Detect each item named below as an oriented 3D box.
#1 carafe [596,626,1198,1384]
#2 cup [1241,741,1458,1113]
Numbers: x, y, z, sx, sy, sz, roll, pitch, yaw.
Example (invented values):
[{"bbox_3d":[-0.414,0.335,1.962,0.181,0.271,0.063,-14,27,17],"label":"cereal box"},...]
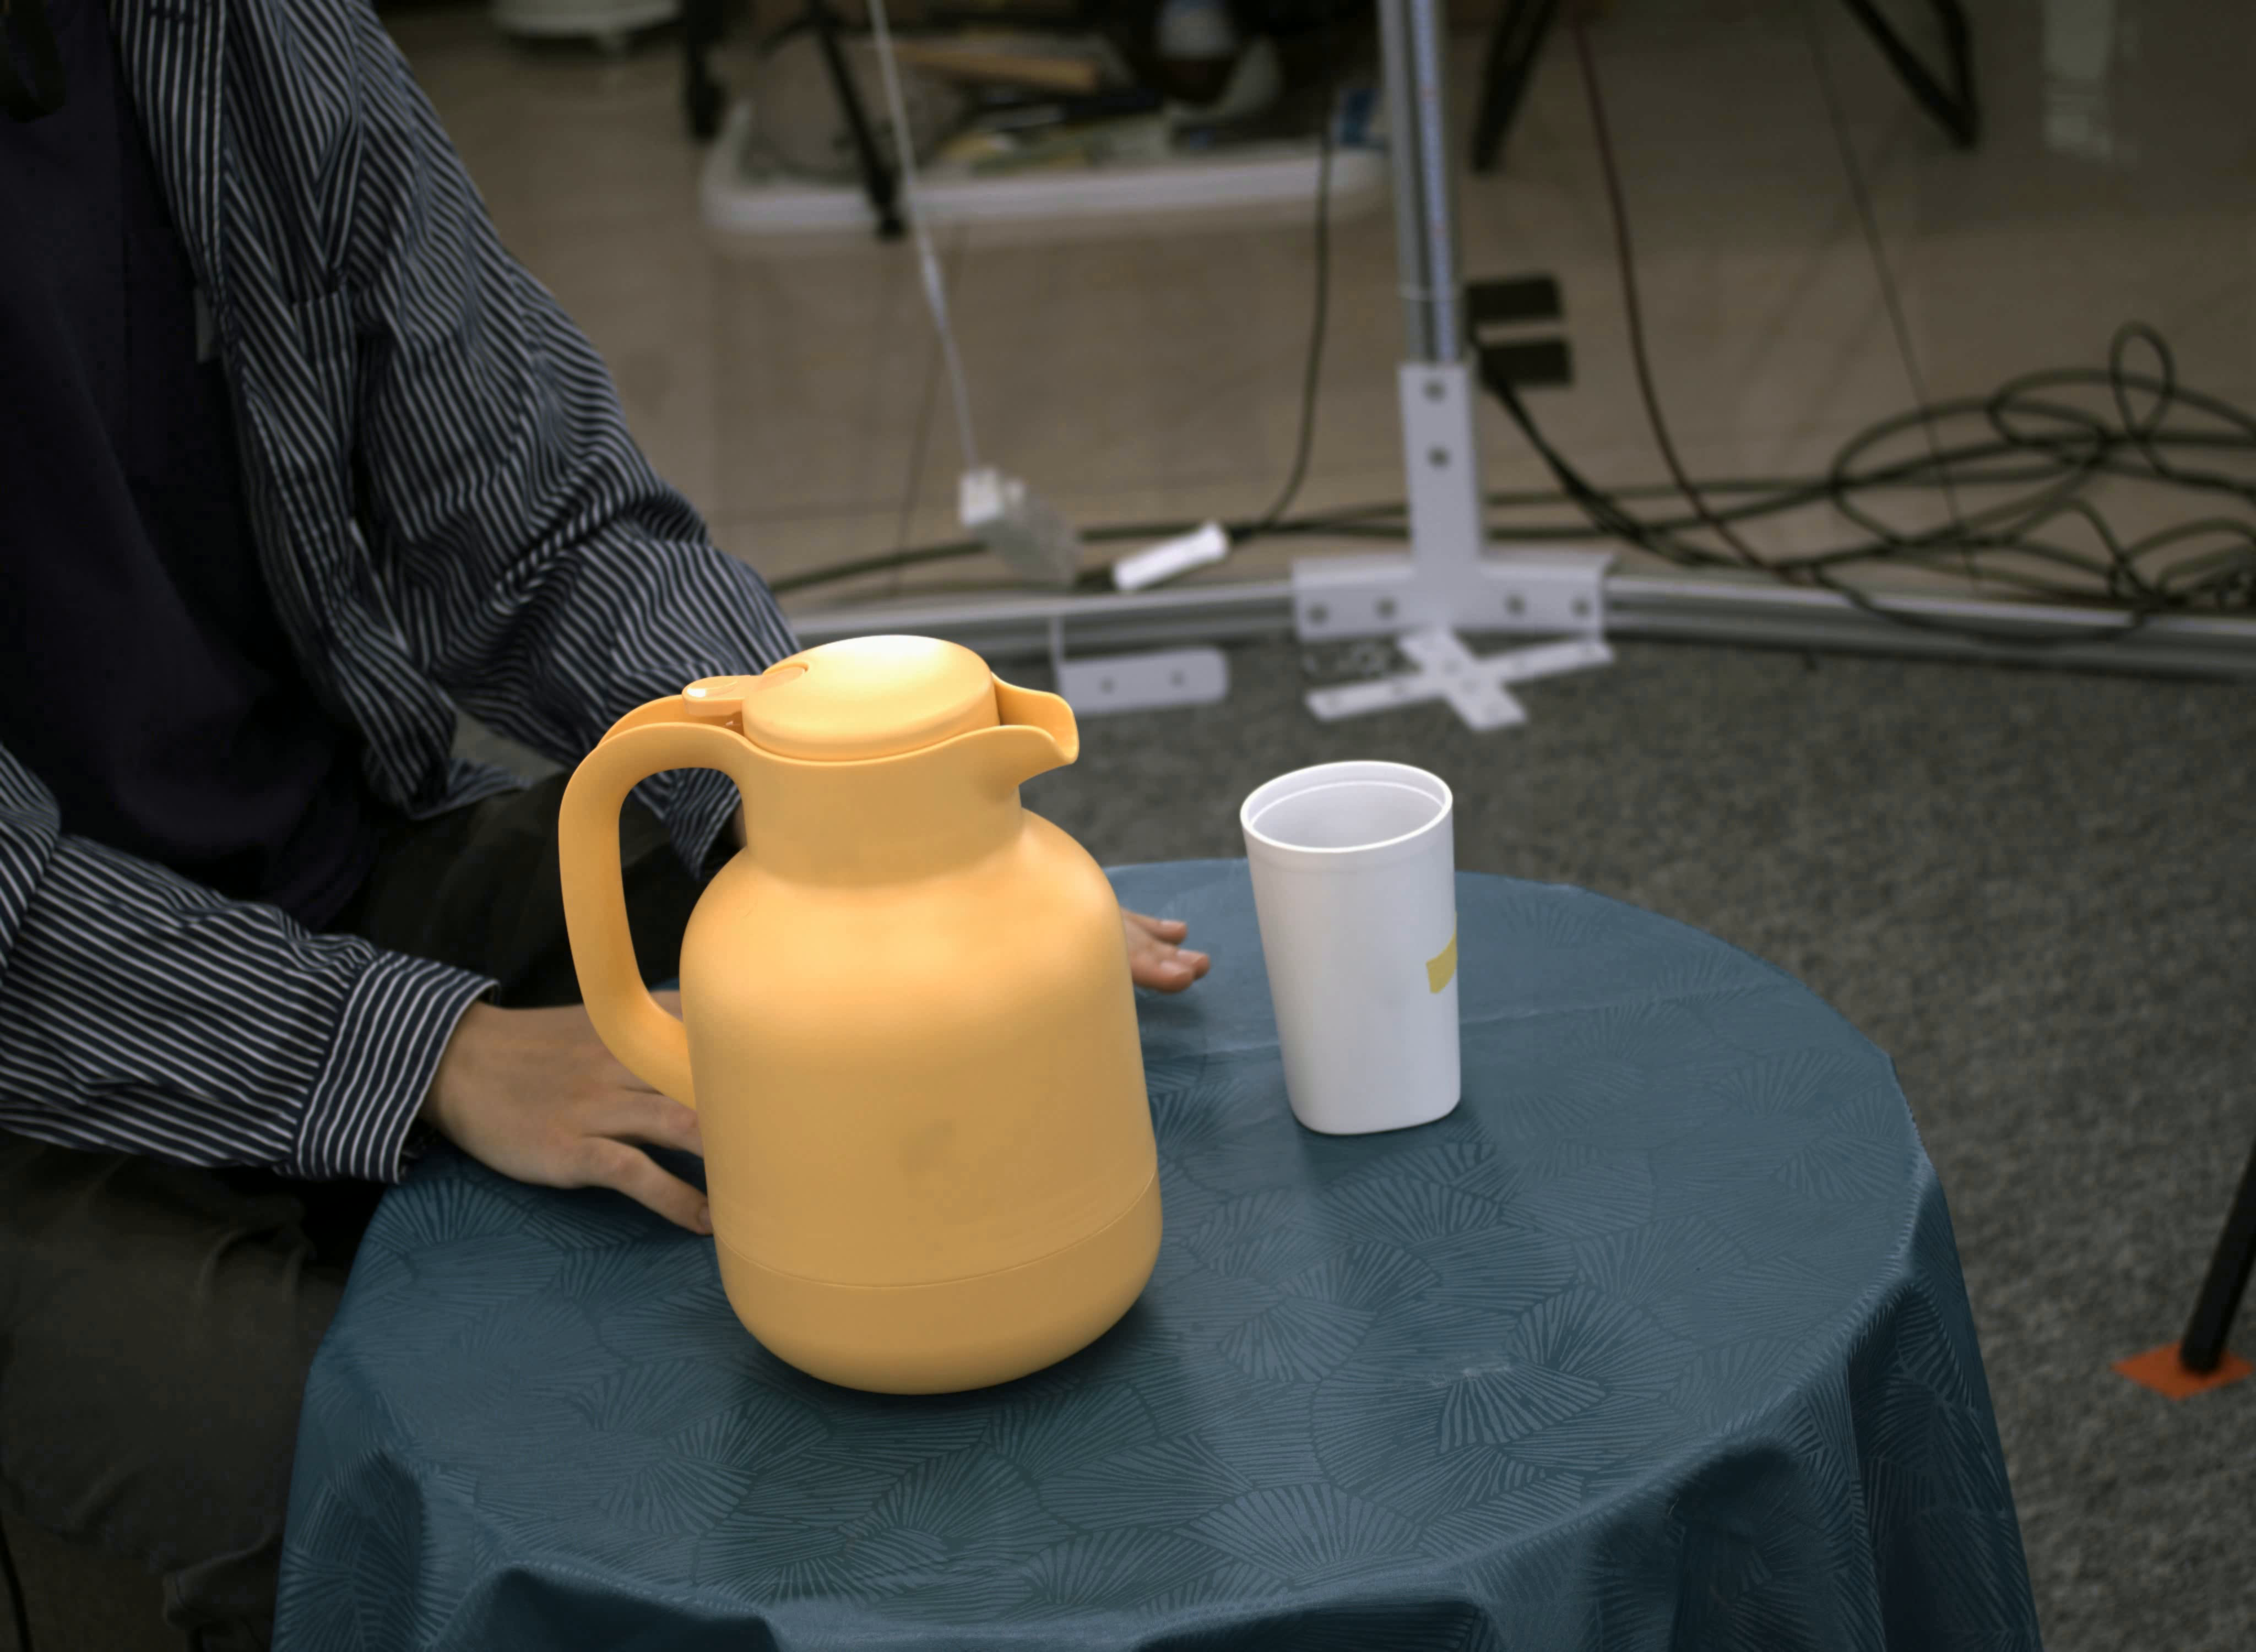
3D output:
[{"bbox_3d":[-0.084,0.059,2.033,0.202,0.264,0.161,0,25,14],"label":"carafe"},{"bbox_3d":[0.090,0.040,2.184,0.081,0.127,0.080,-5,27,3],"label":"cup"}]
